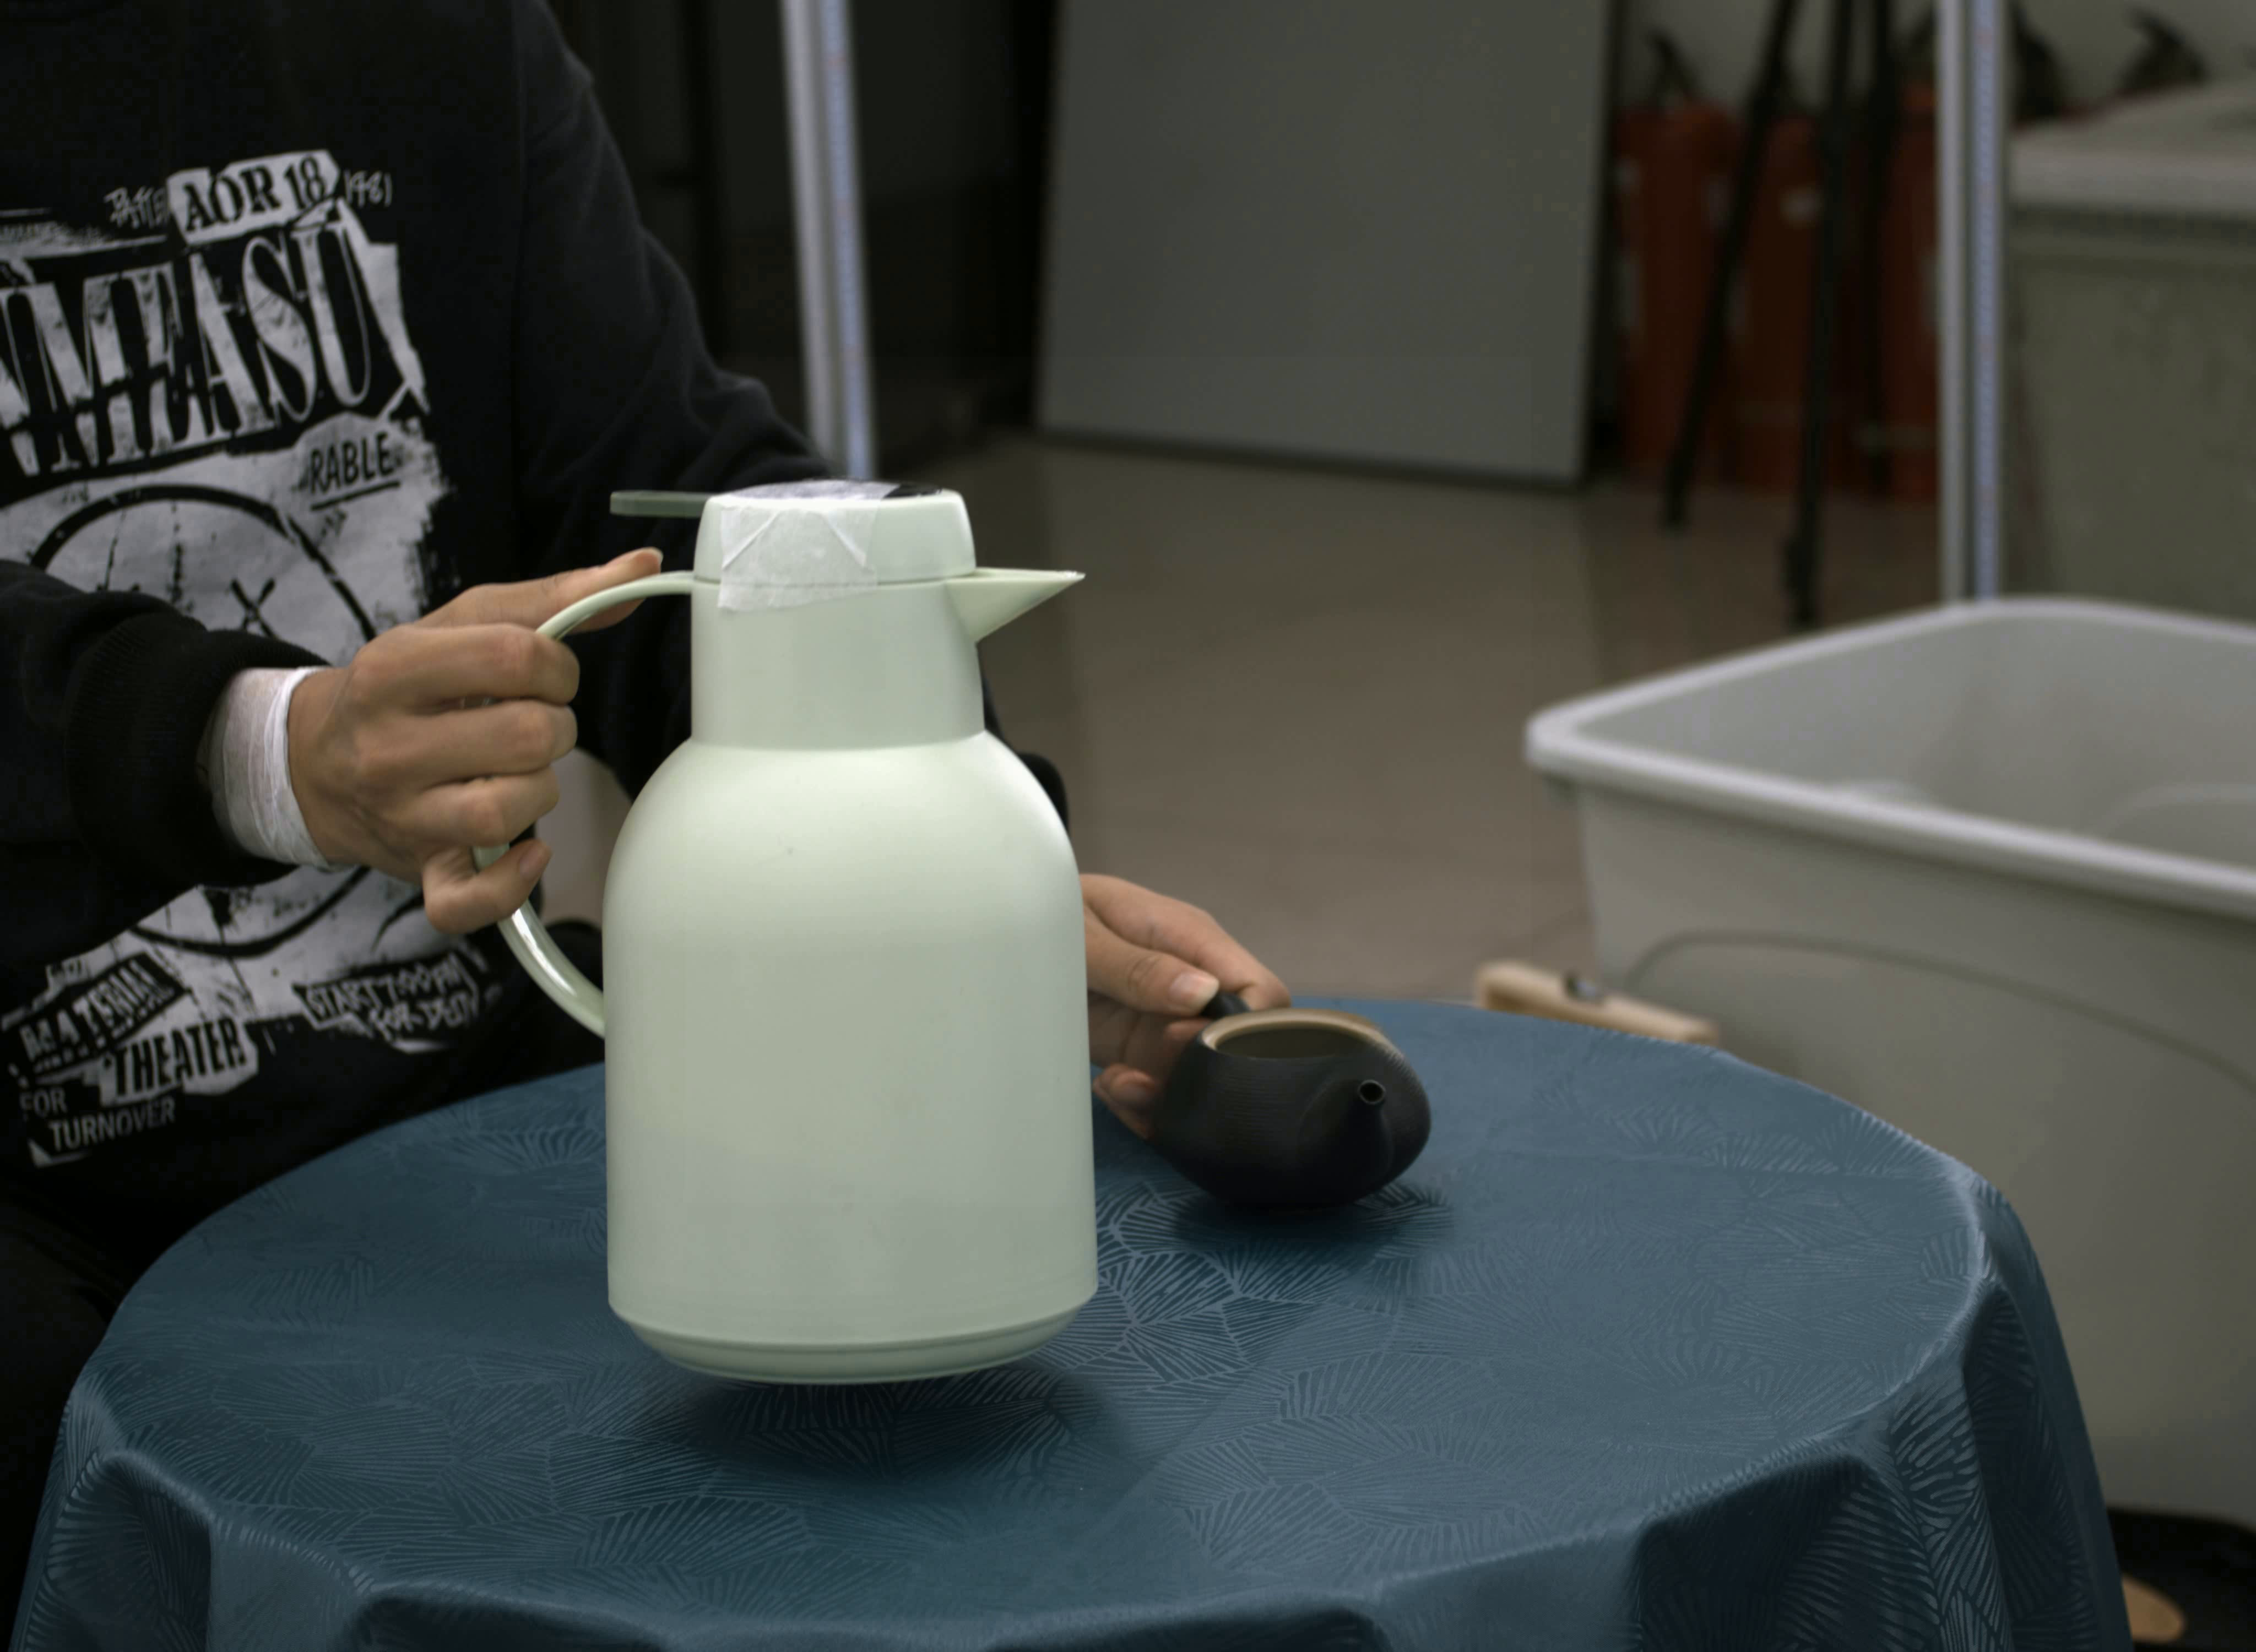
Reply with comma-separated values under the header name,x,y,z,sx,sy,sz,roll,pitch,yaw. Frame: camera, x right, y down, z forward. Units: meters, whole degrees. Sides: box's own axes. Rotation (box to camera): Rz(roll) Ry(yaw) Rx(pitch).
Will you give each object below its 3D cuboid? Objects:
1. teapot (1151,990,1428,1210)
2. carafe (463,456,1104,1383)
name,x,y,z,sx,sy,sz,roll,pitch,yaw
teapot,0.052,0.091,1.742,0.089,0.053,0.134,-7,16,-21
carafe,-0.097,0.024,1.574,0.185,0.260,0.143,-4,7,10
